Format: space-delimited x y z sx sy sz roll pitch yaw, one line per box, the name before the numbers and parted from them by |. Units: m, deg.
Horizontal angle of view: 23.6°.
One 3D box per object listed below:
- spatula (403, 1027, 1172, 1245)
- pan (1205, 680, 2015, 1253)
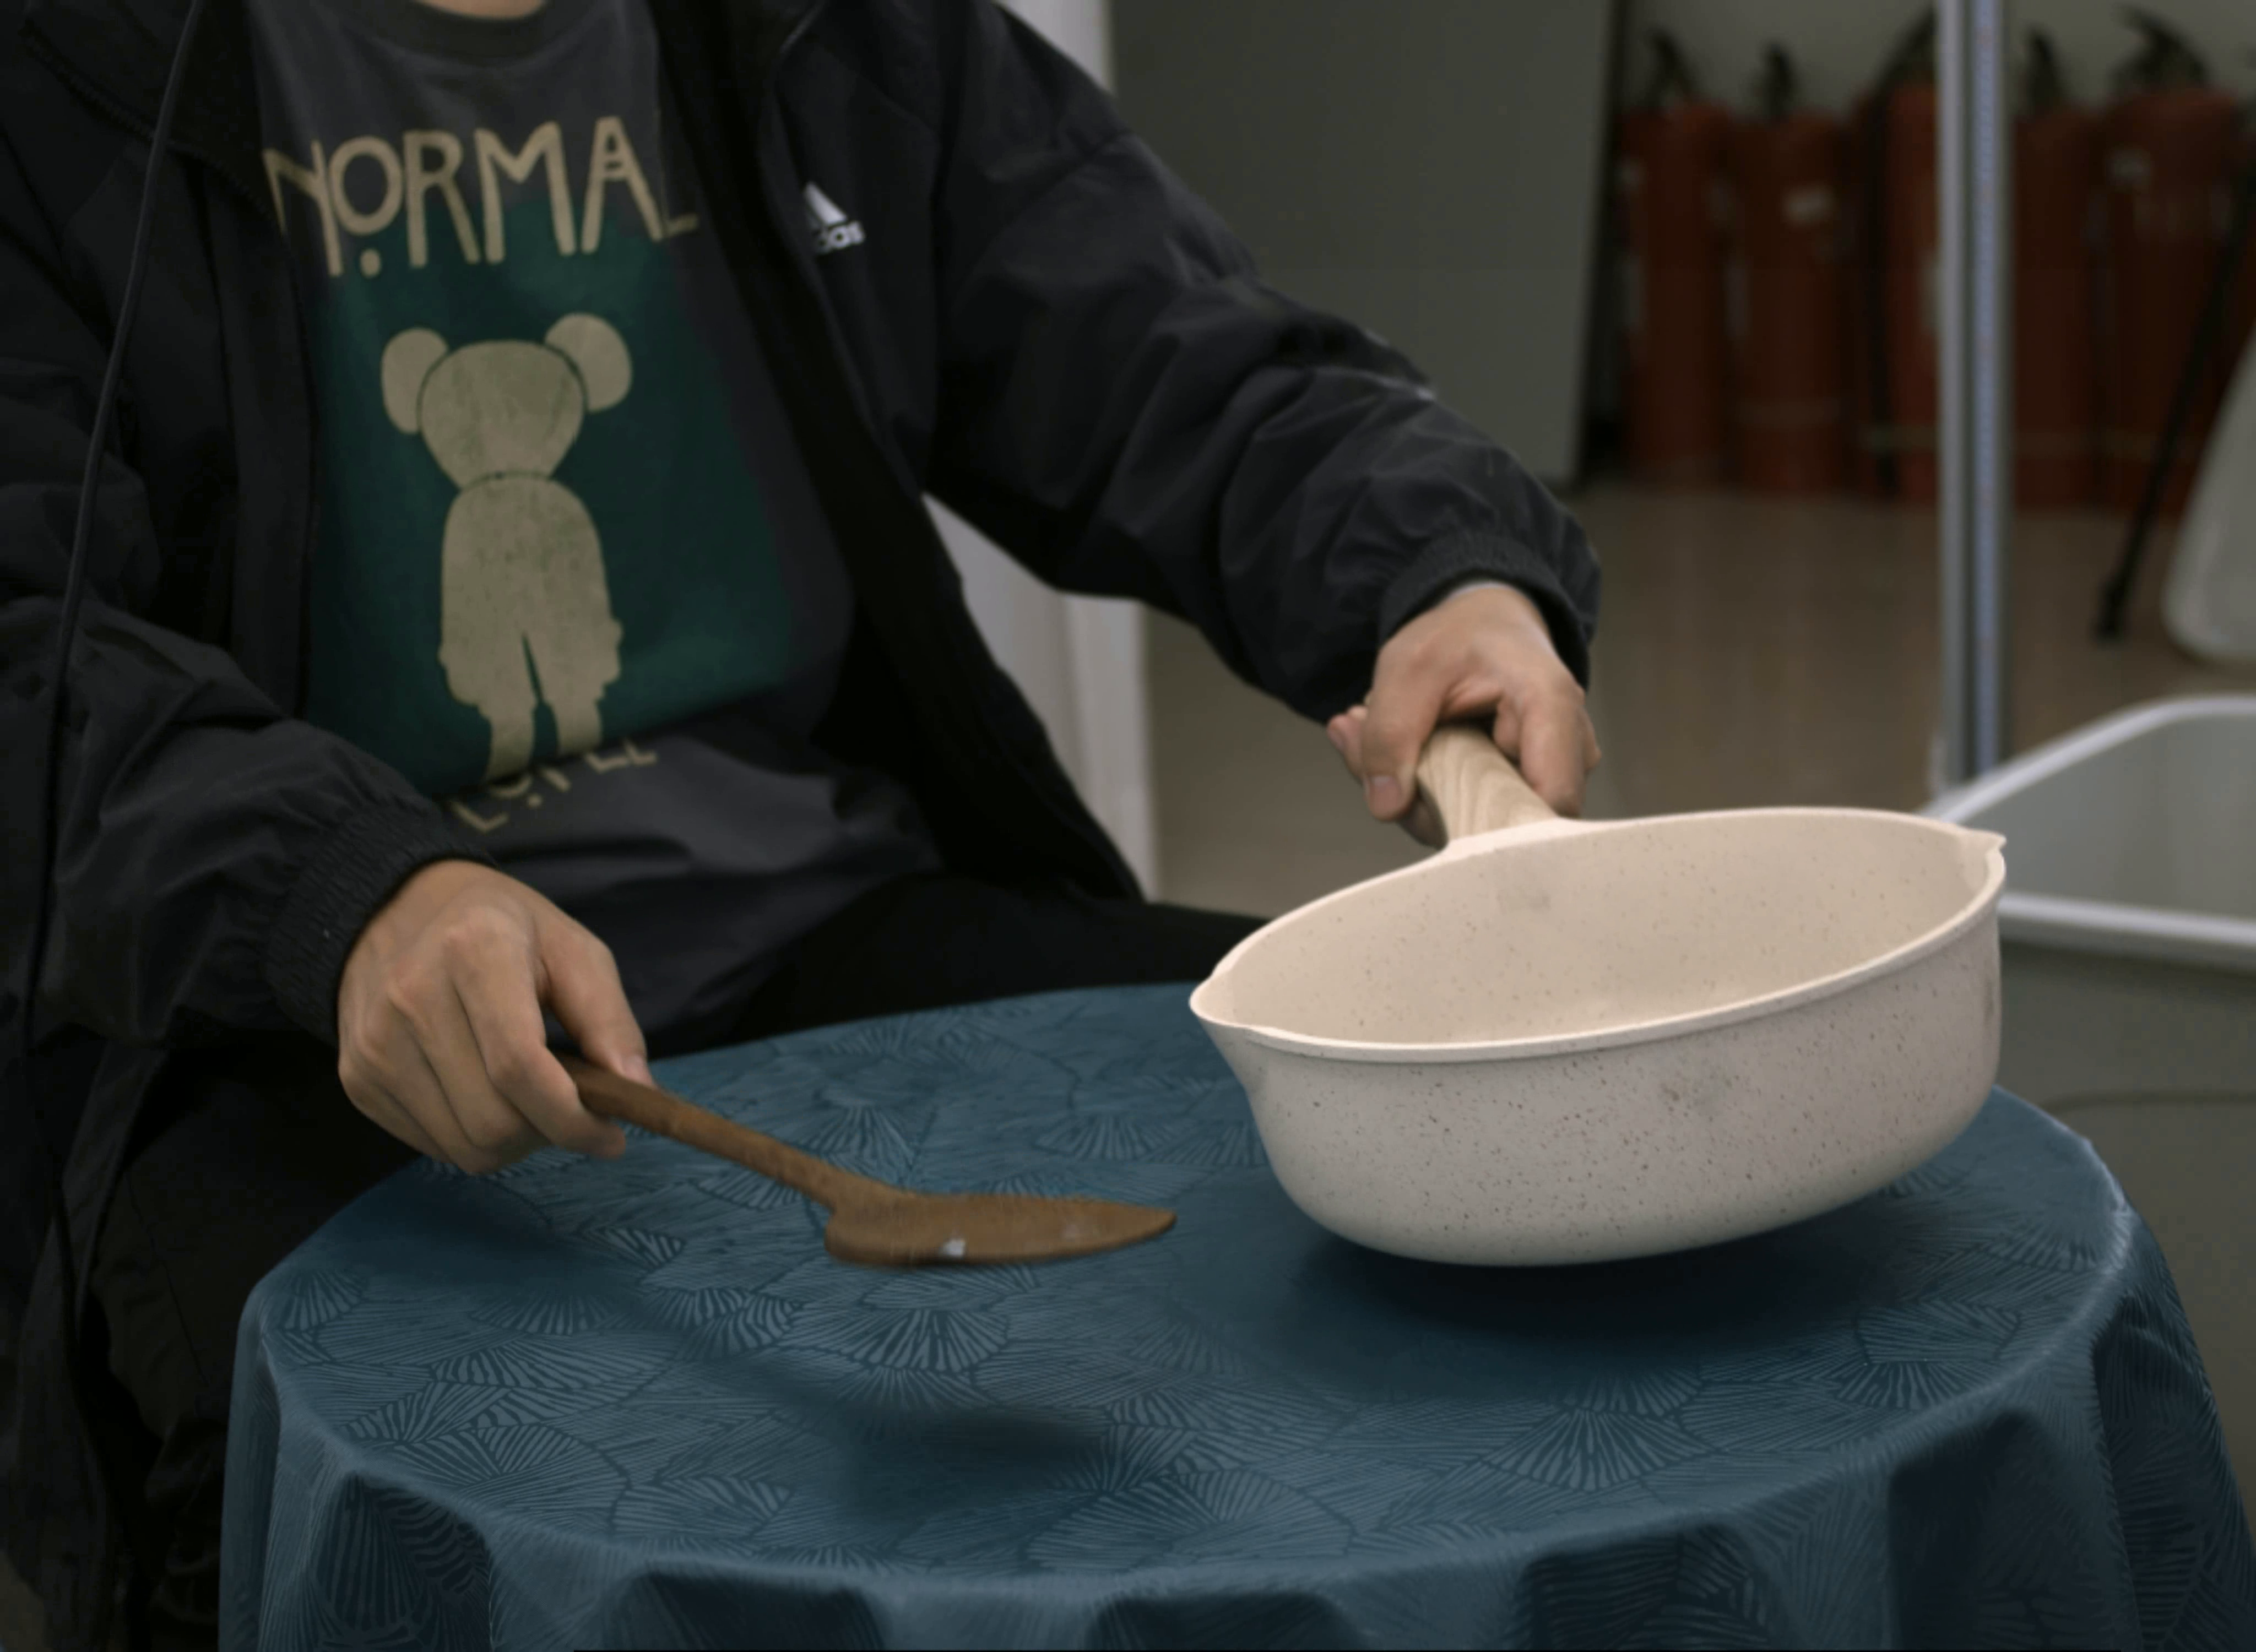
spatula | -0.127 0.093 1.668 0.094 0.016 0.390 -5 10 -35
pan | 0.143 0.037 1.761 0.260 0.103 0.437 -14 13 -5
